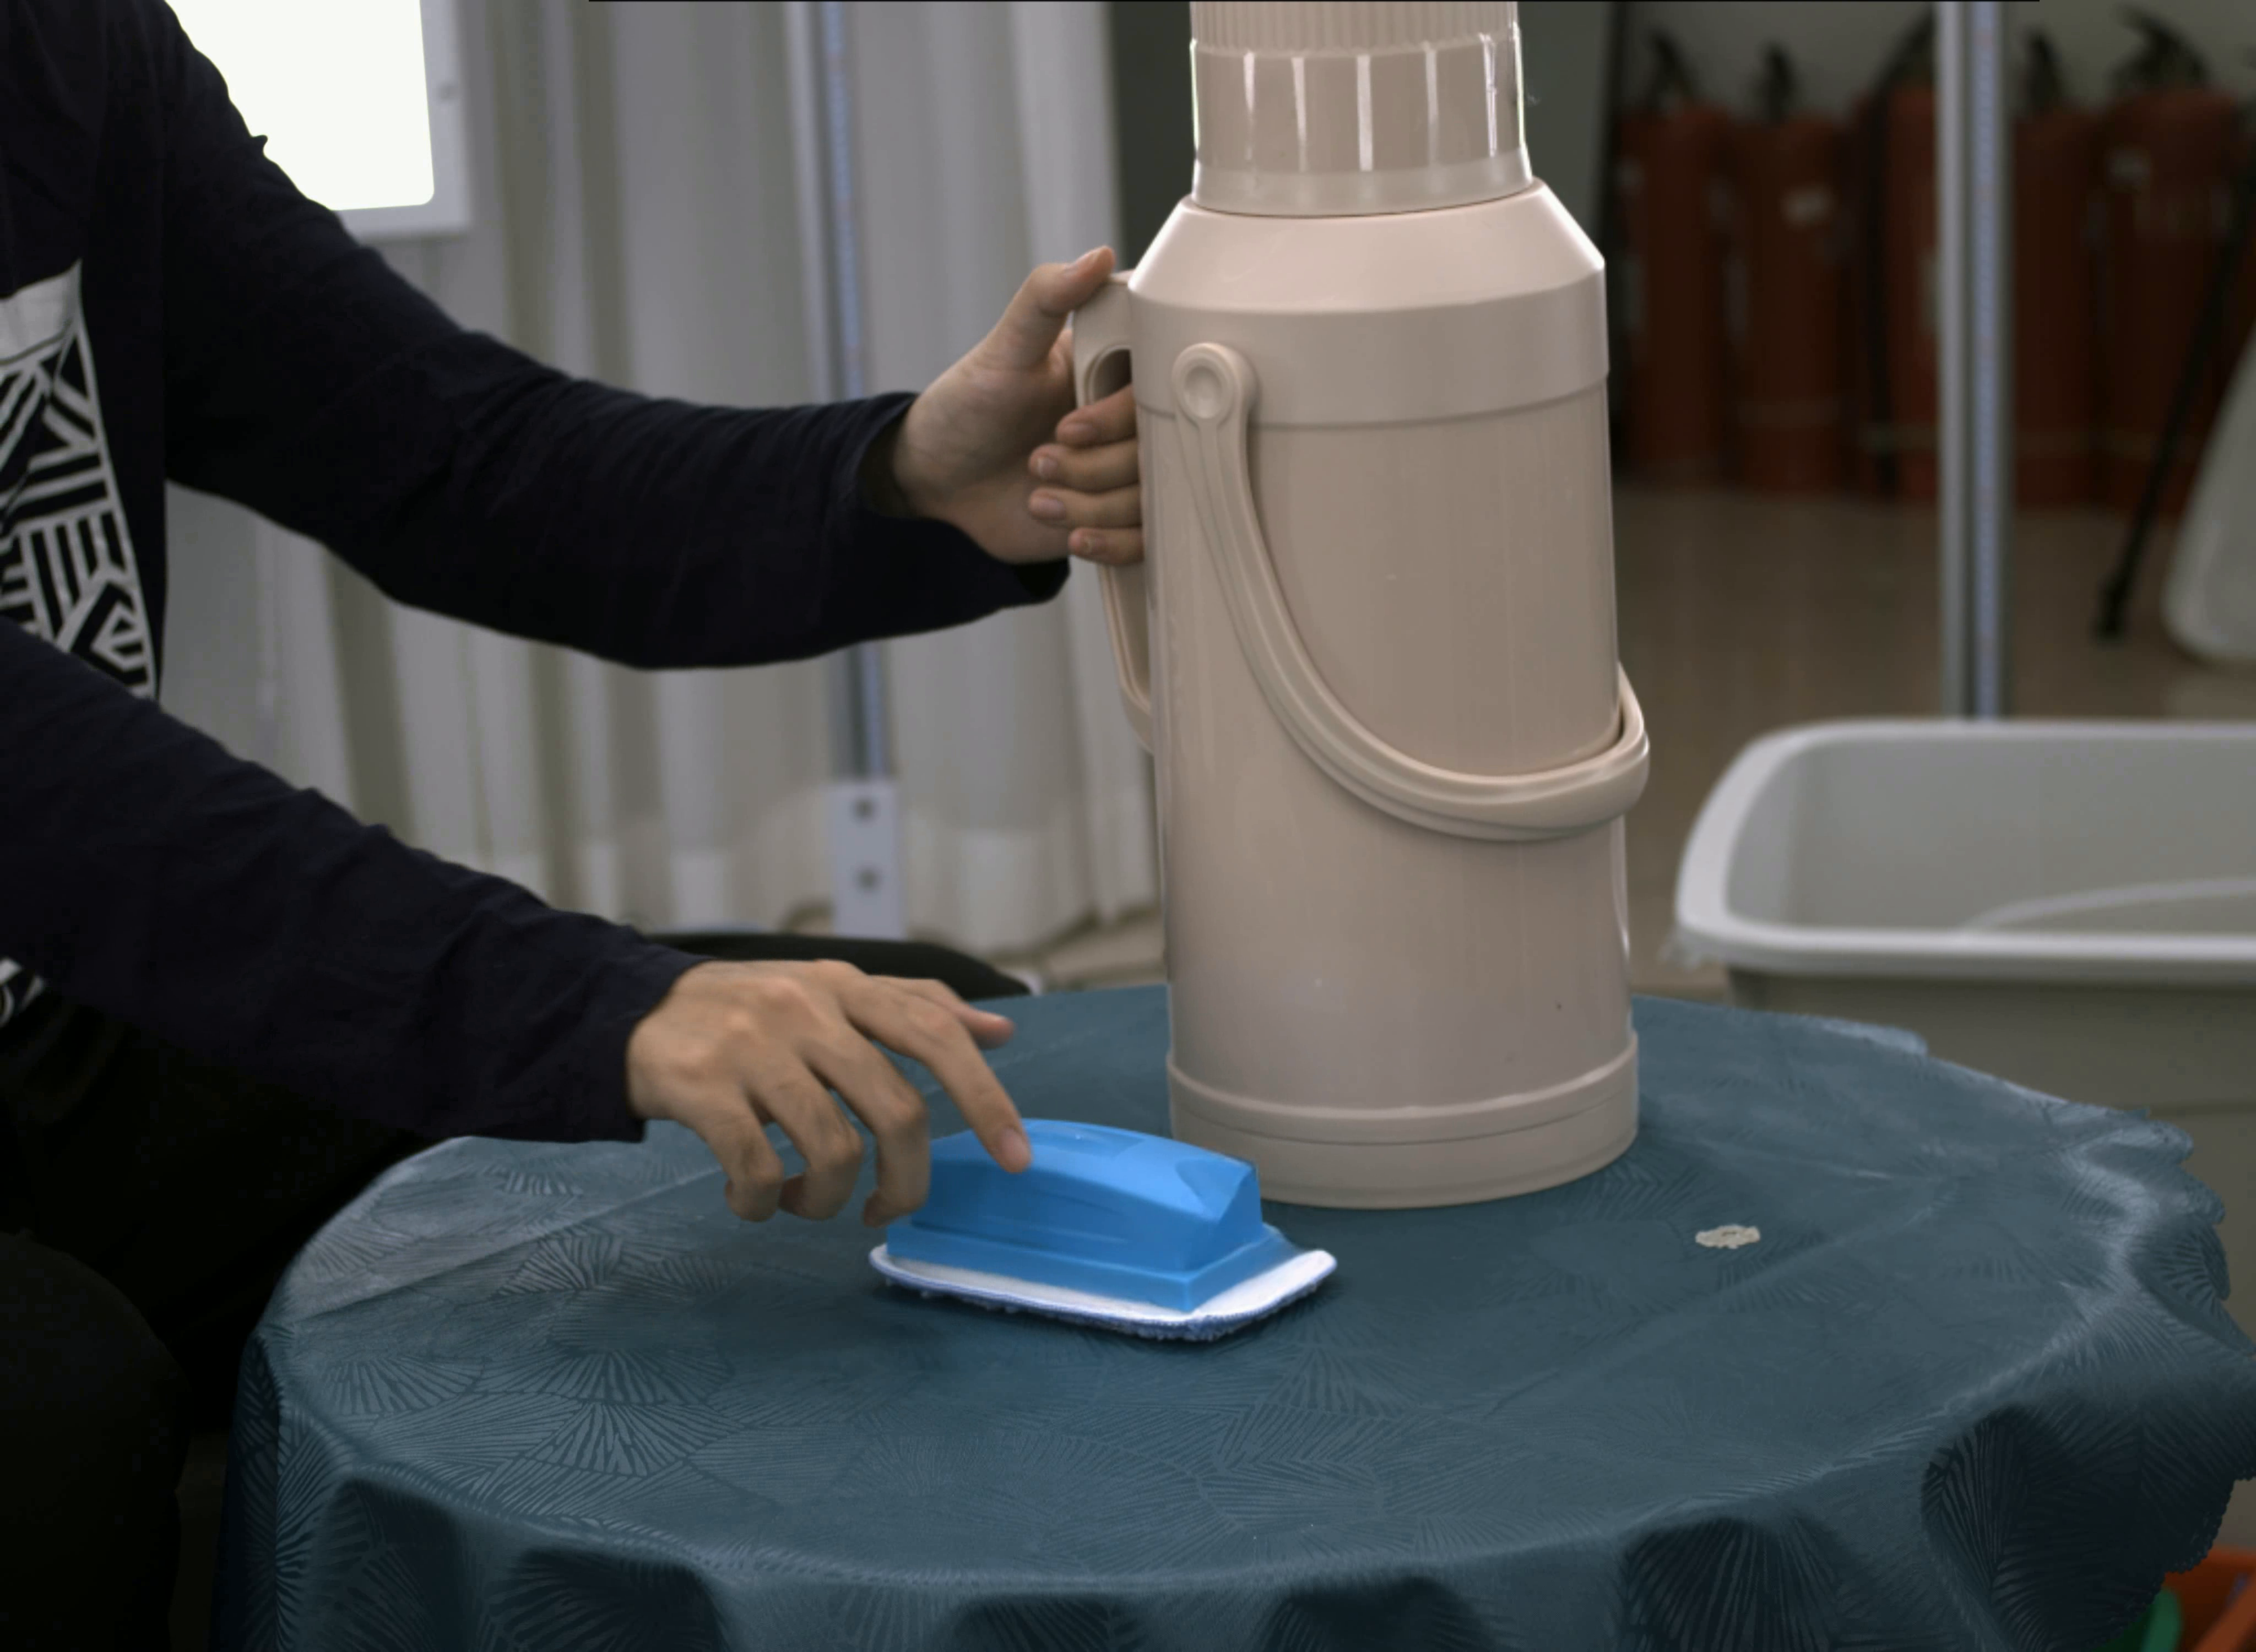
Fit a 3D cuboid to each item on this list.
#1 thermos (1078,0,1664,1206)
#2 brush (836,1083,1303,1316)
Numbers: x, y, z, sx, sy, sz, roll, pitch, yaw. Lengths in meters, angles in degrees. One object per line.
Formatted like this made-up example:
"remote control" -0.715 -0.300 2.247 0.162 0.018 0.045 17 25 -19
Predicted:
"thermos" 0.075 -0.091 1.777 0.208 0.410 0.172 6 18 39
"brush" -0.018 0.114 1.676 0.145 0.056 0.082 12 16 38
